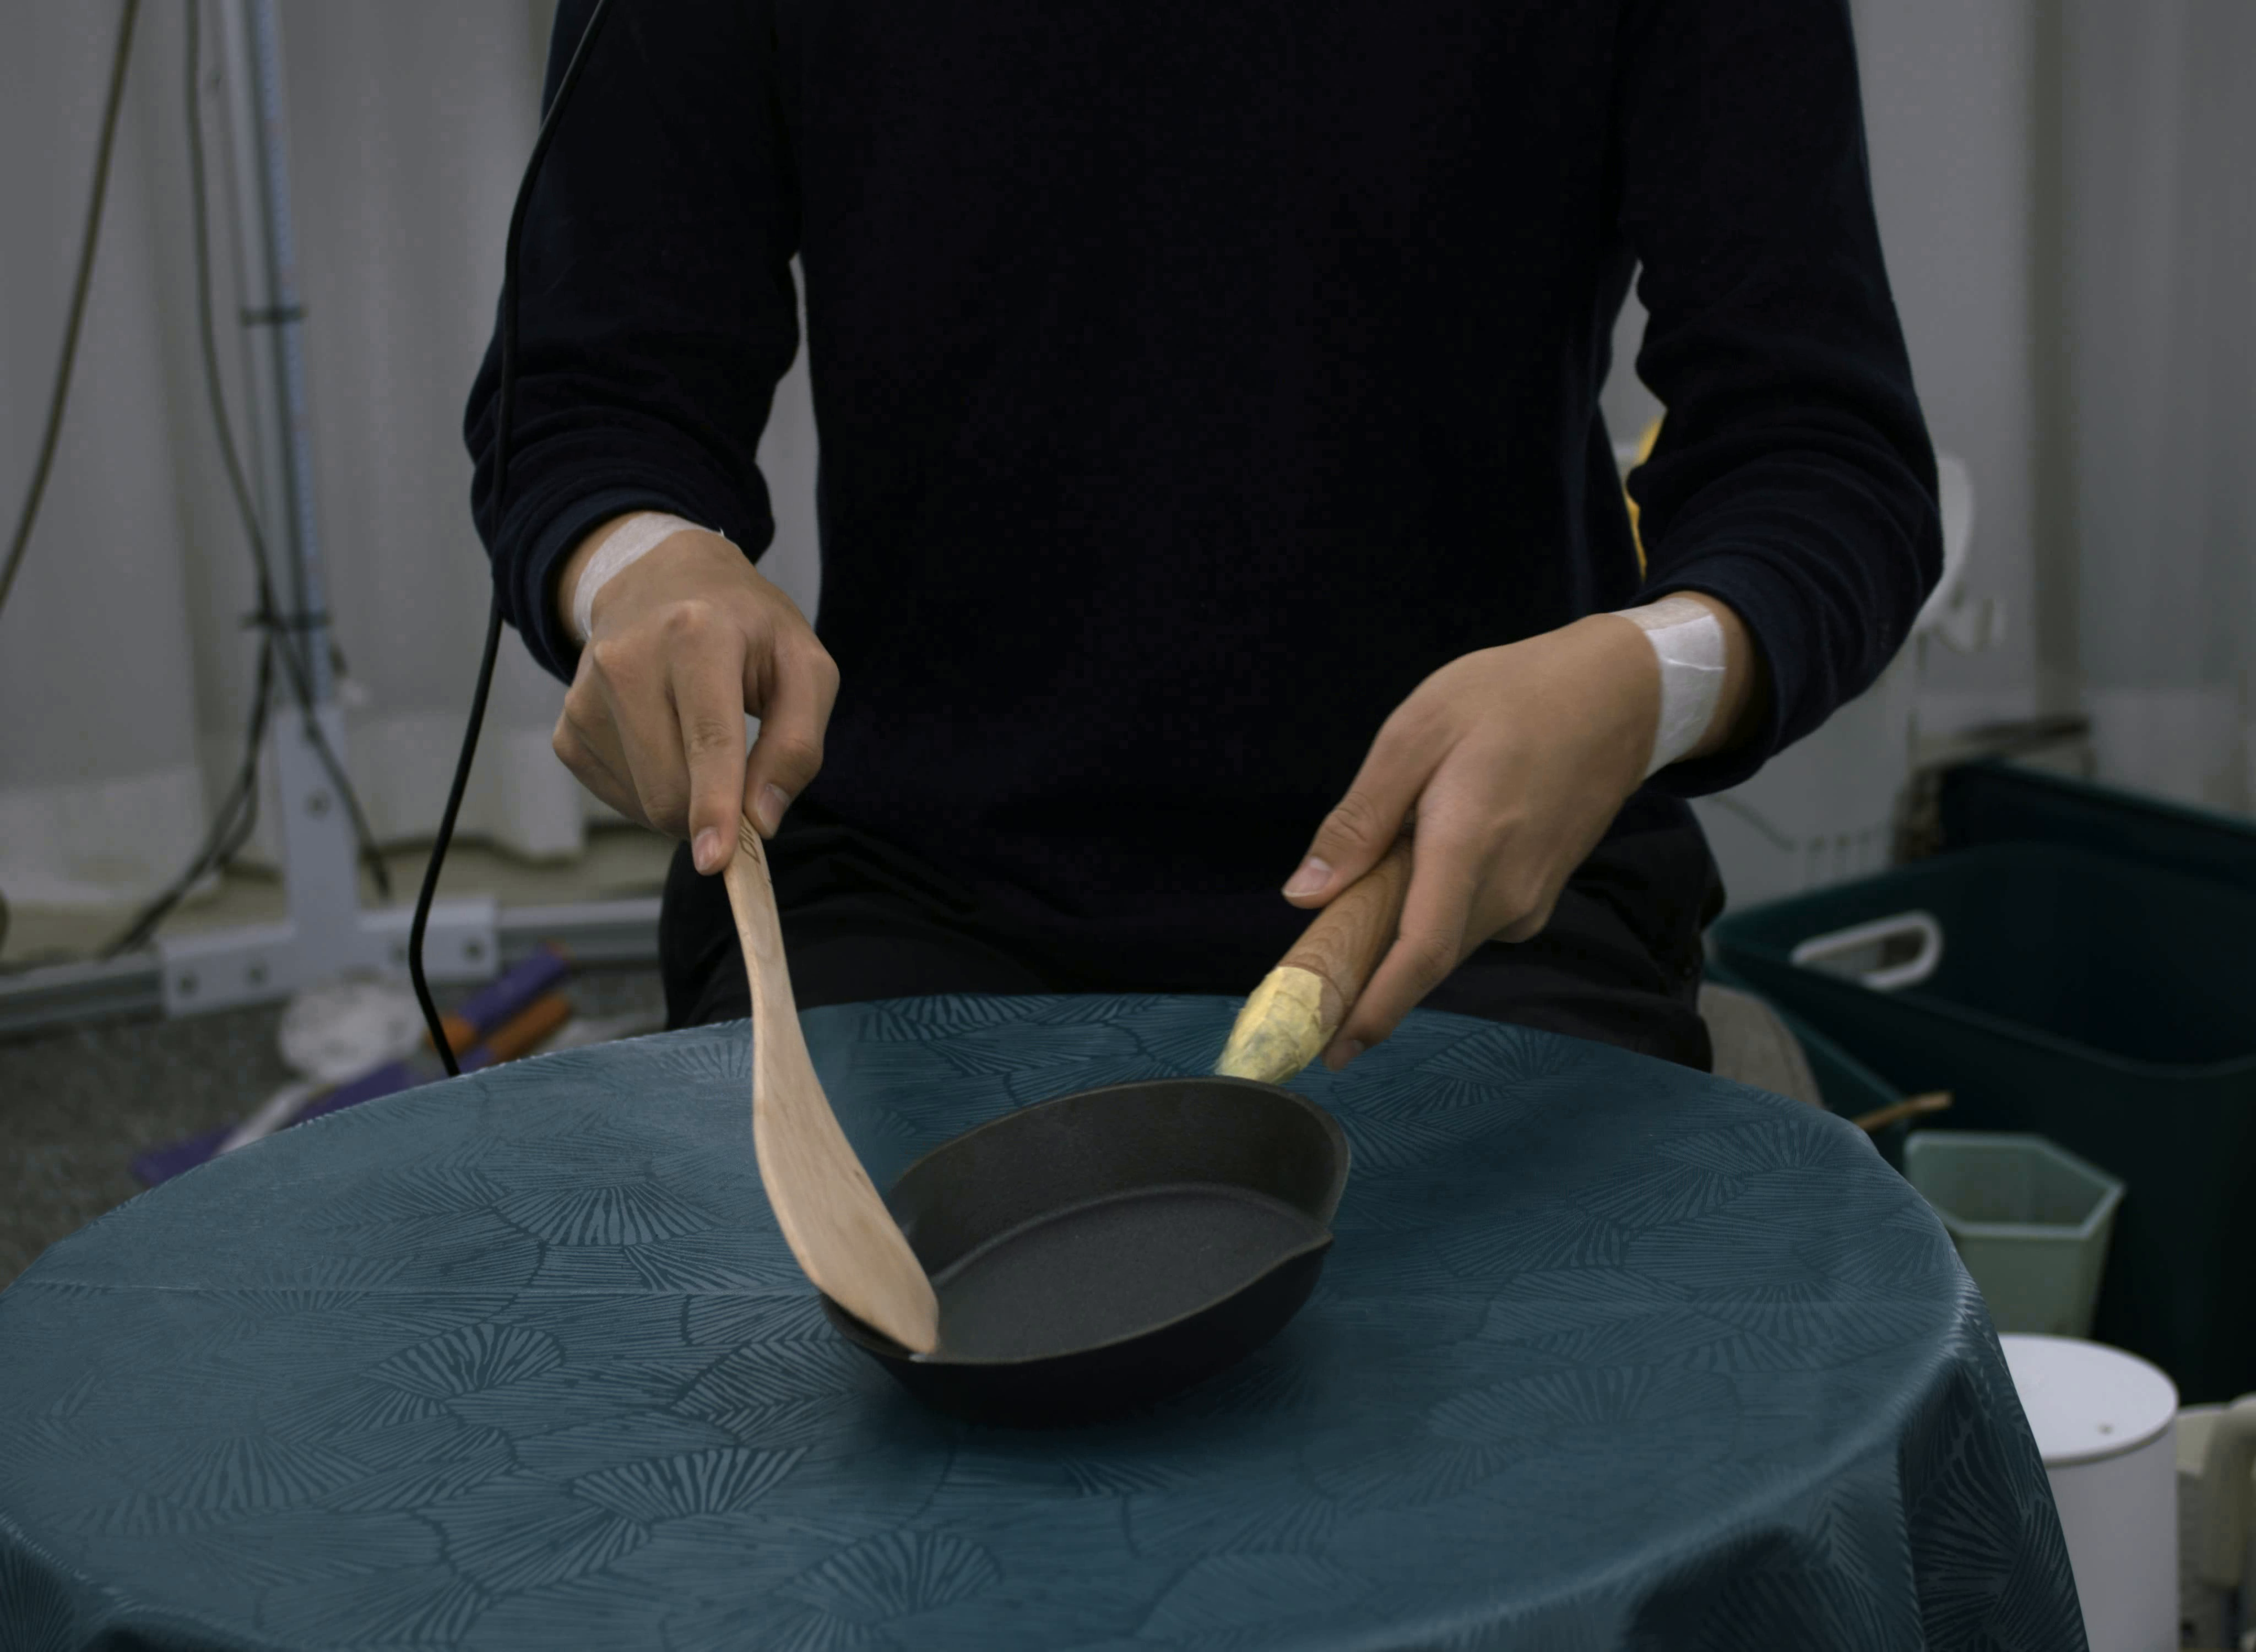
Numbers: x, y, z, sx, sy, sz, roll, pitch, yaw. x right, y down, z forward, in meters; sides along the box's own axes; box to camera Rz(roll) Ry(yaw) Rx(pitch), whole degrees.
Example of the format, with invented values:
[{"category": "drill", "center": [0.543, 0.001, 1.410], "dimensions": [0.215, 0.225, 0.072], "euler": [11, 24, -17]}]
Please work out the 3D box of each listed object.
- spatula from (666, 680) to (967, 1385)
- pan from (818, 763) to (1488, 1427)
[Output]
[{"category": "spatula", "center": [-0.099, 0.054, 1.632], "dimensions": [0.016, 0.079, 0.332], "euler": [-38, 38, 14]}, {"category": "pan", "center": [0.033, 0.077, 1.621], "dimensions": [0.169, 0.049, 0.326], "euler": [2, 31, 35]}]
